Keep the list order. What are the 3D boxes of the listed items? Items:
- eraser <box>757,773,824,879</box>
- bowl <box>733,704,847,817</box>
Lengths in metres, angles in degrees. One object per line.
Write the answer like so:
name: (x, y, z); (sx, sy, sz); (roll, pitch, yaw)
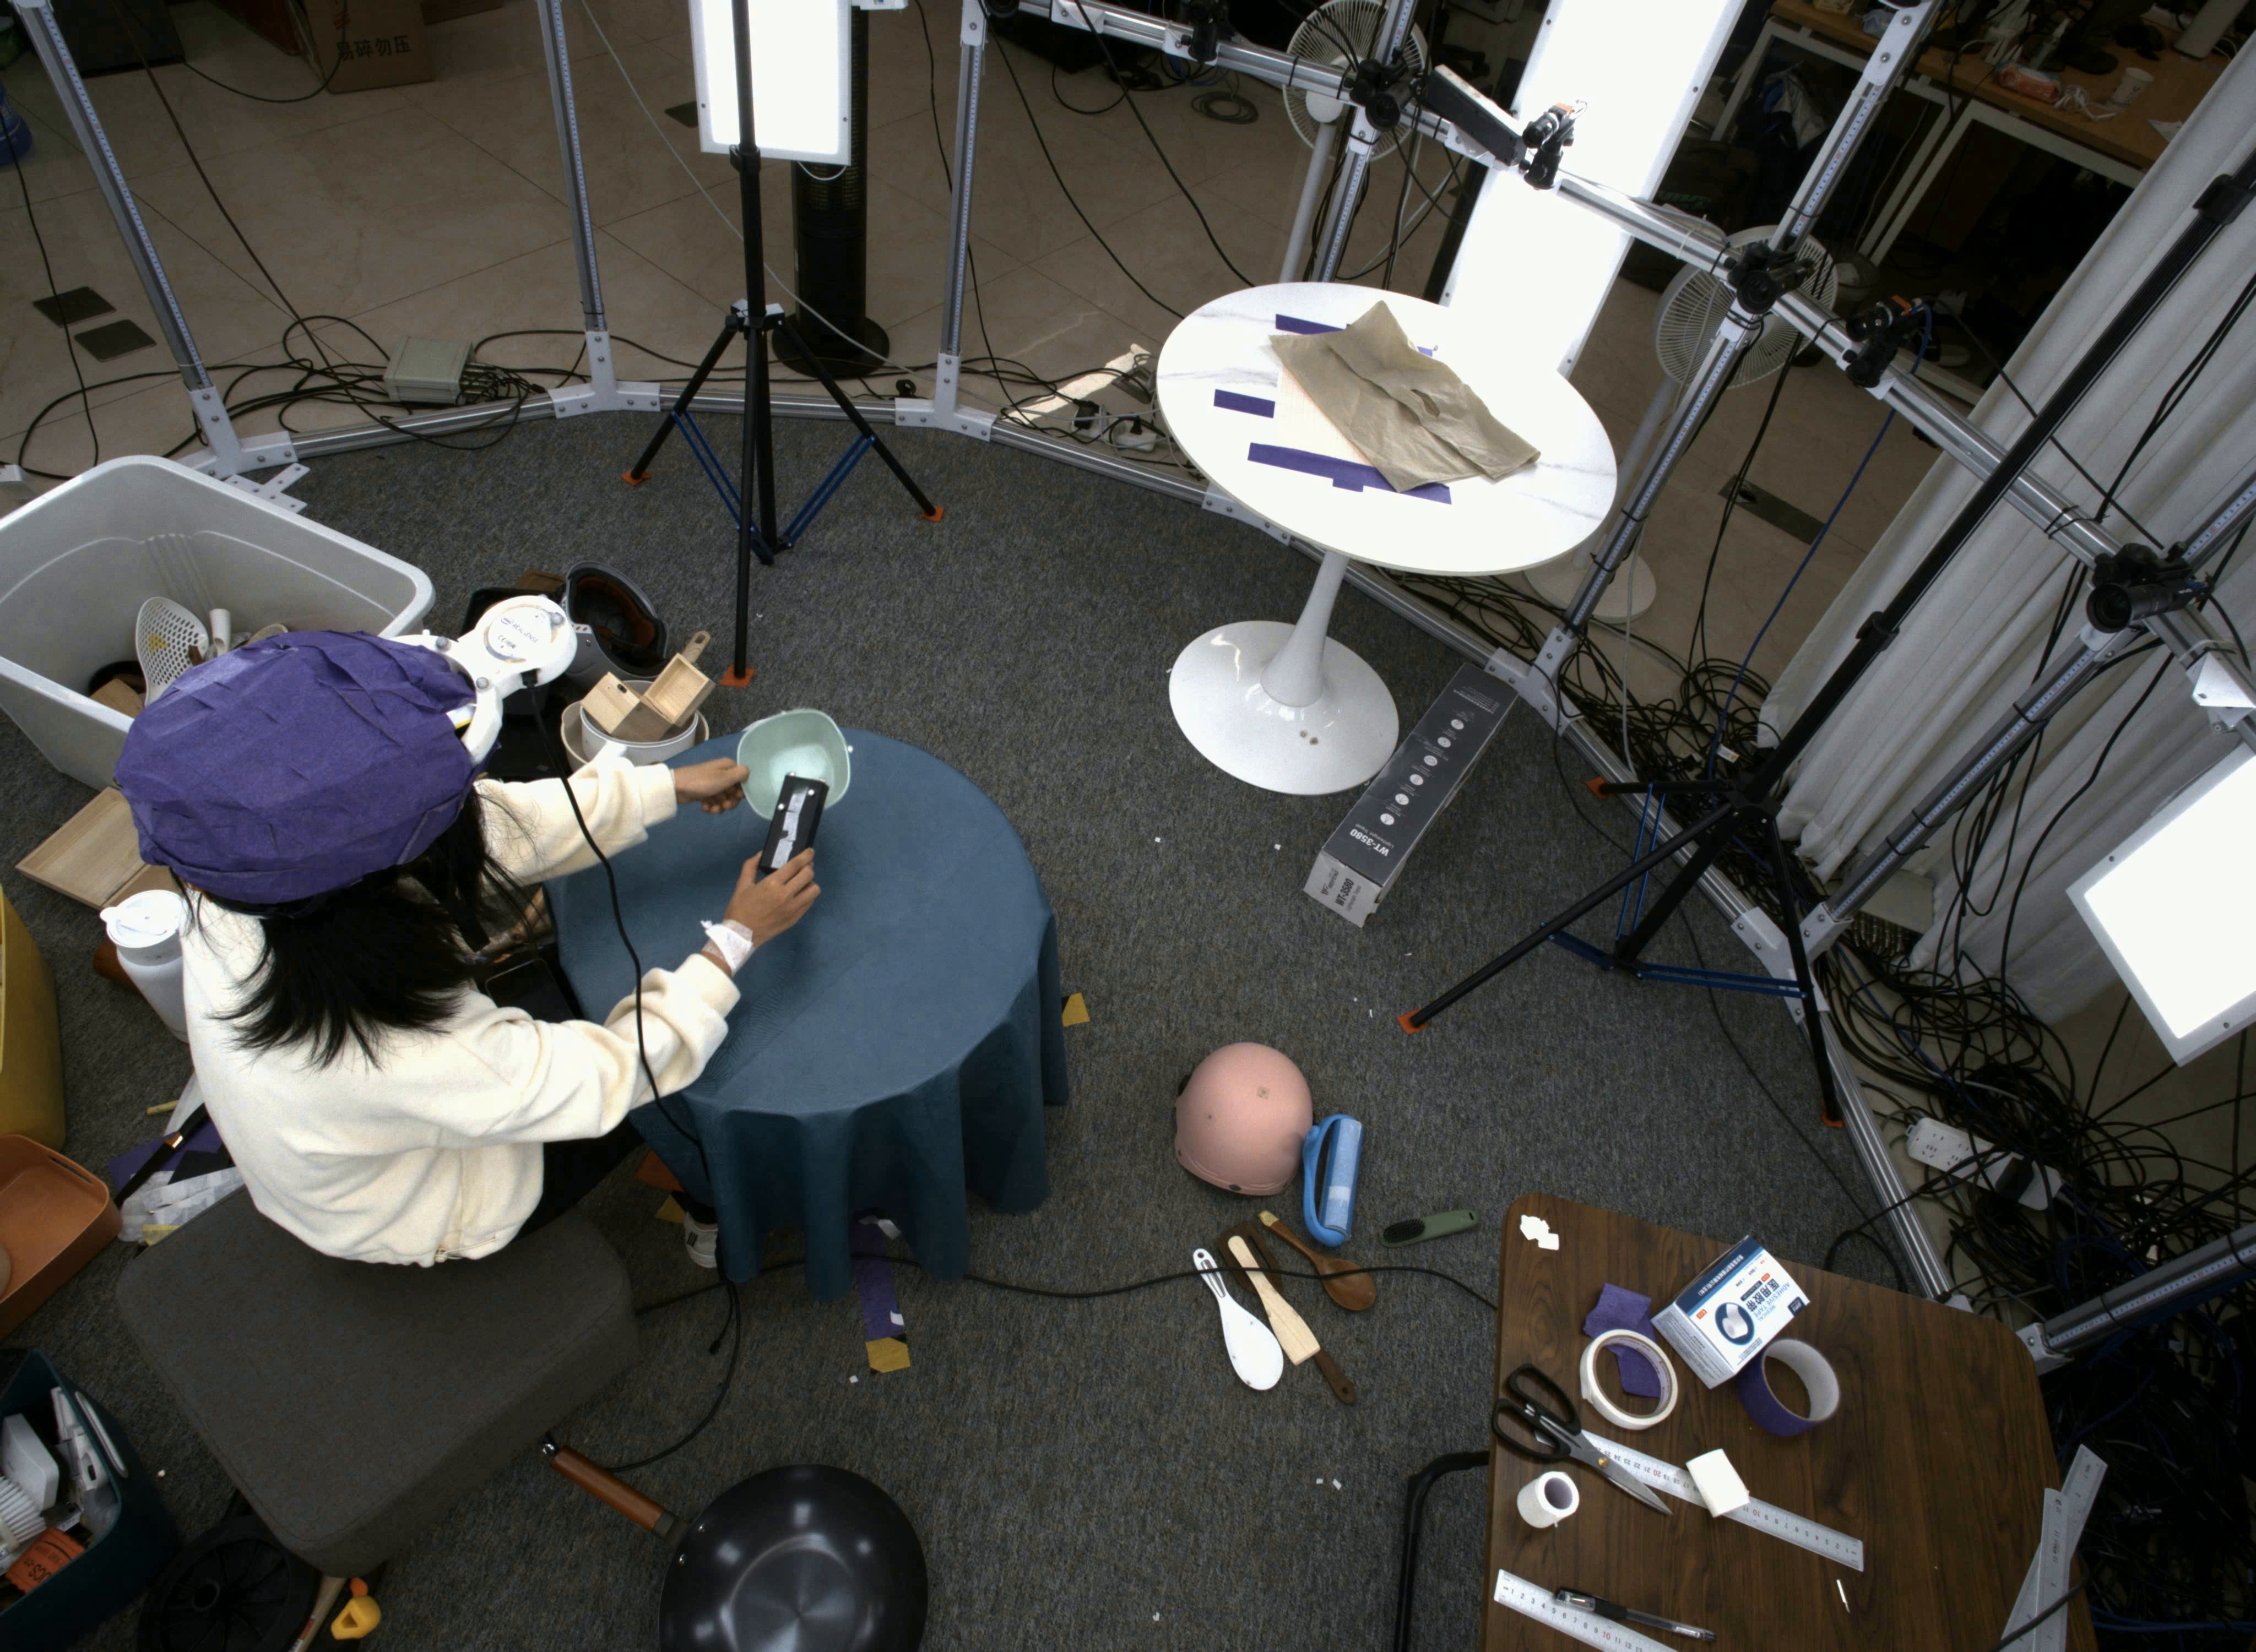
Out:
eraser: (-0.409, -0.002, 1.572); (0.053, 0.031, 0.125); (8, 75, 3)
bowl: (-0.419, -0.075, 1.631); (0.150, 0.059, 0.151); (1, 76, -2)
